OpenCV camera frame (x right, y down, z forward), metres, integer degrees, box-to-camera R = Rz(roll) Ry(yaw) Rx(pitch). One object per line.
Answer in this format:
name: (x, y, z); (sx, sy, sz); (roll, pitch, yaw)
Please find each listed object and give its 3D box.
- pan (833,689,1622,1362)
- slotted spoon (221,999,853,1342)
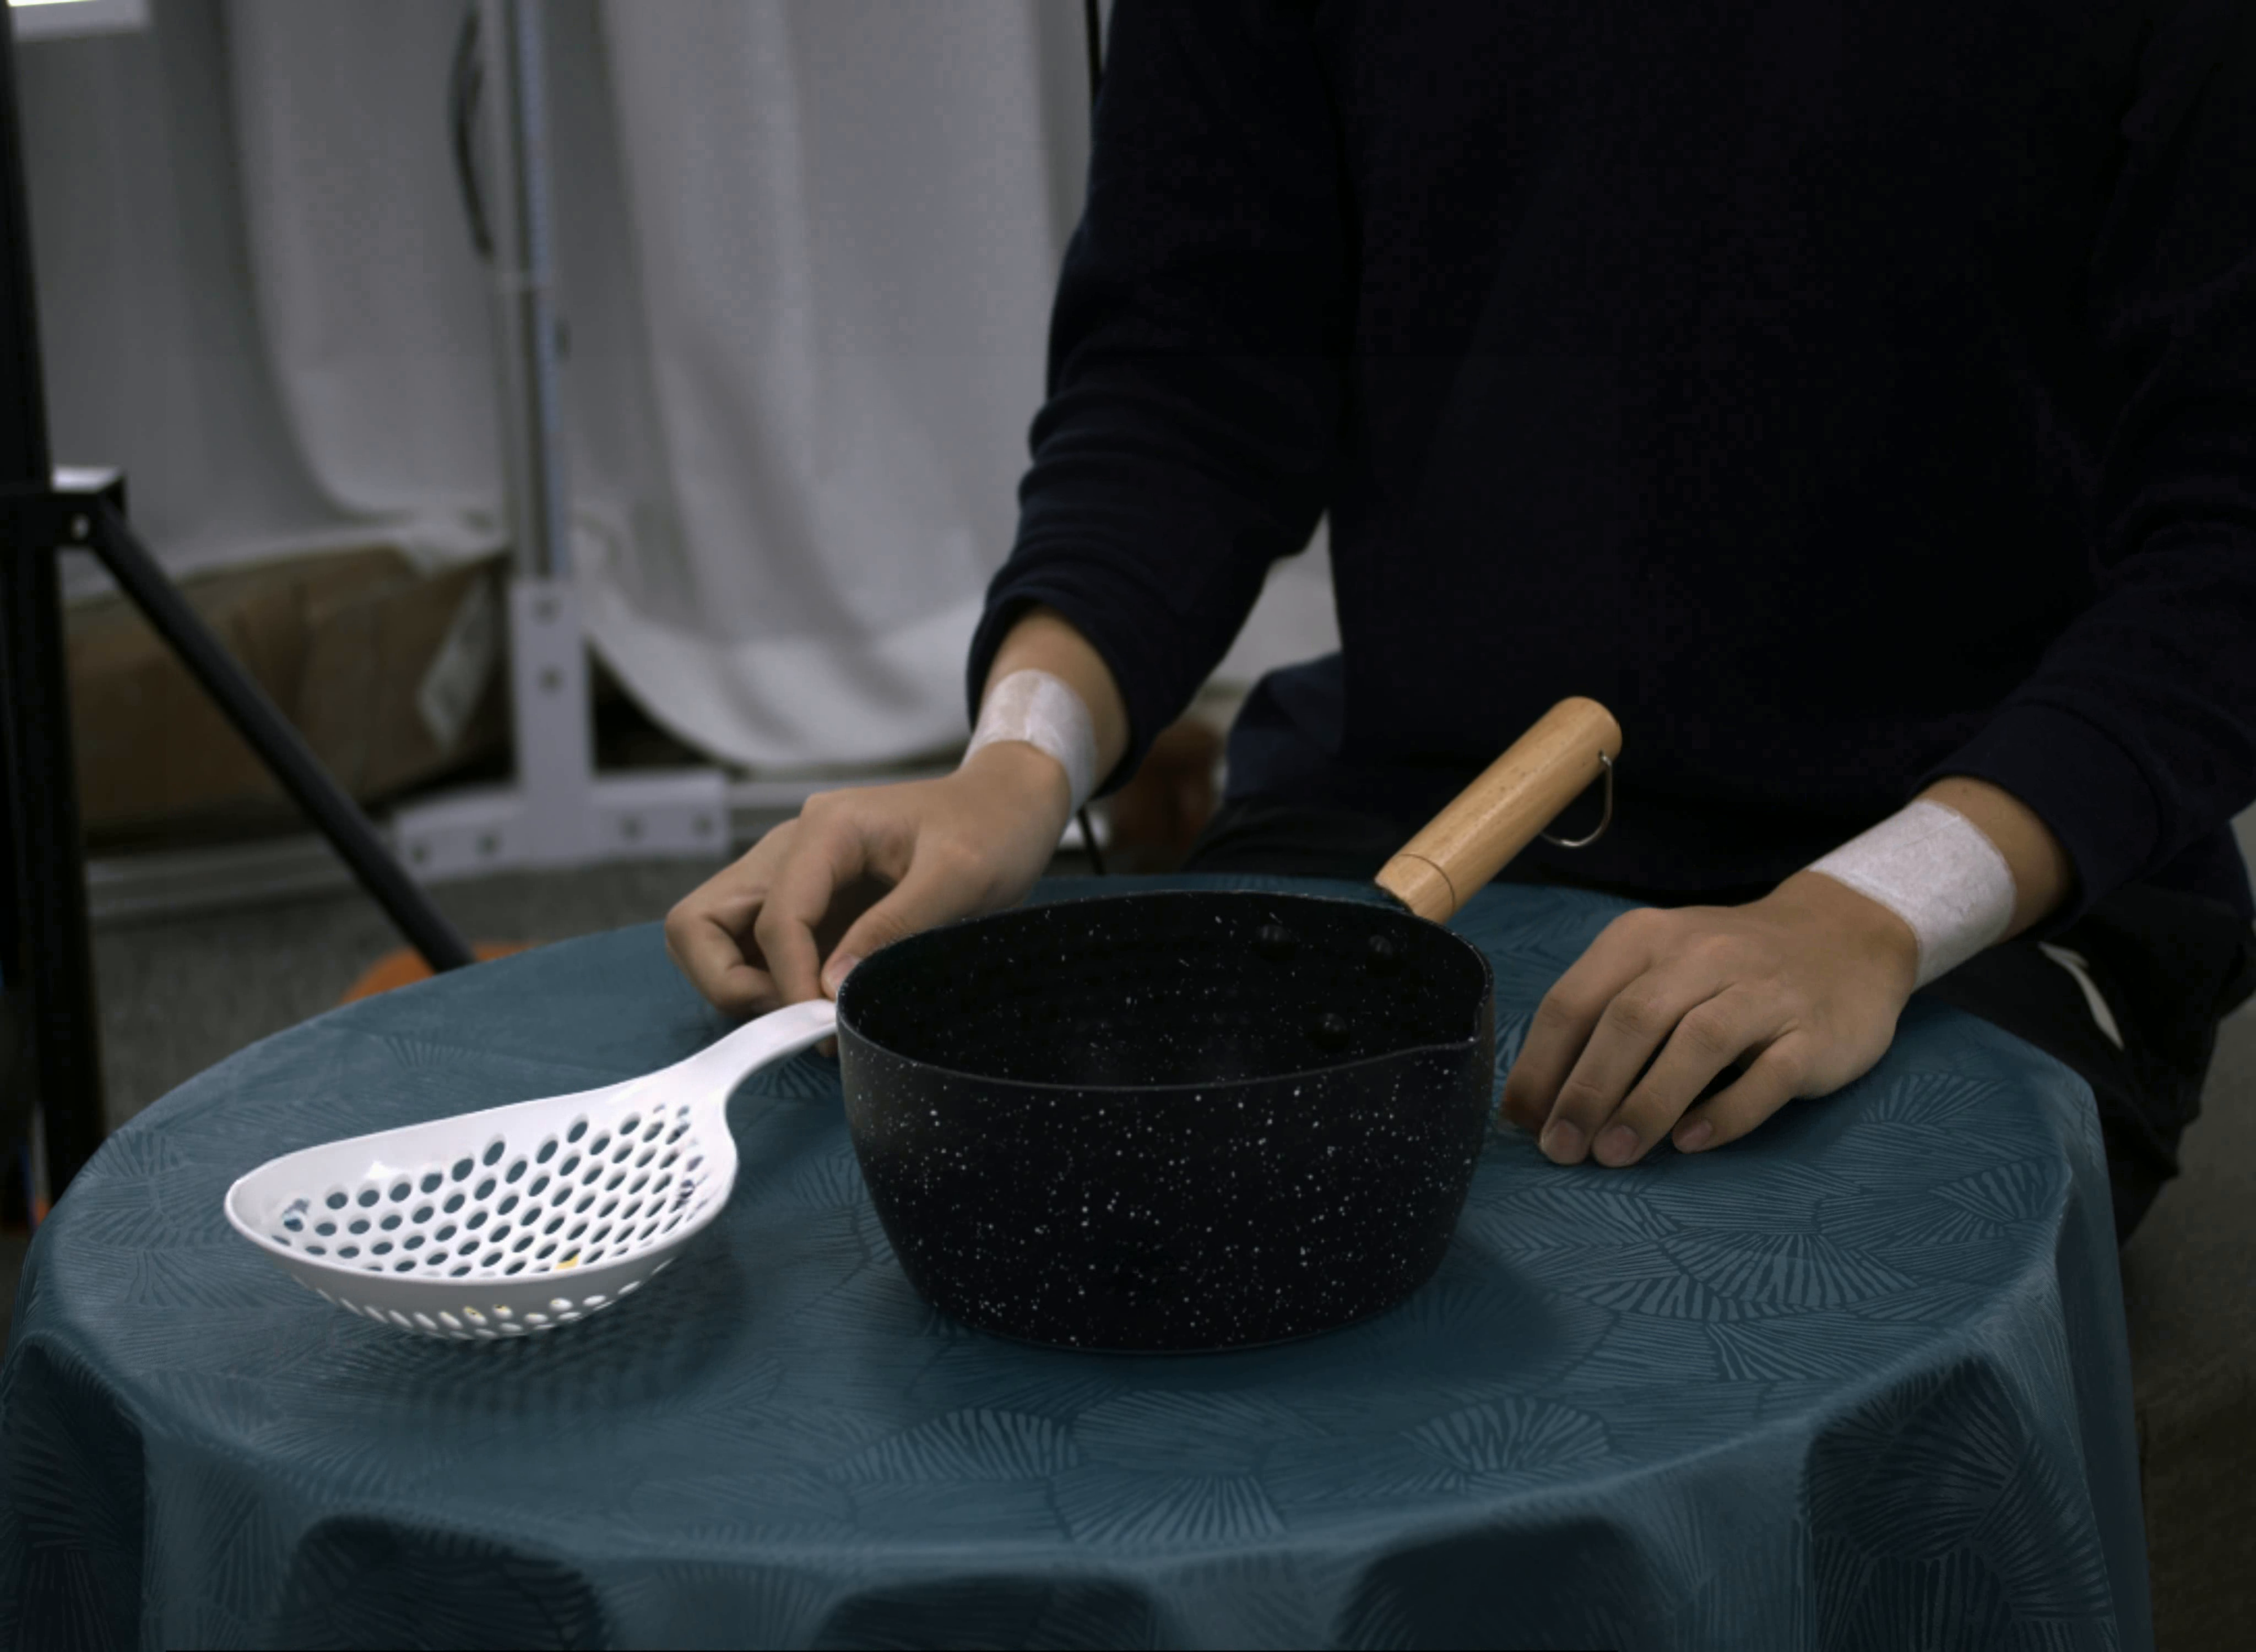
pan: (0.053, 0.053, 1.546); (0.211, 0.108, 0.336); (6, 19, 33)
slotted spoon: (-0.136, 0.088, 1.572); (0.139, 0.050, 0.343); (6, 19, 23)
